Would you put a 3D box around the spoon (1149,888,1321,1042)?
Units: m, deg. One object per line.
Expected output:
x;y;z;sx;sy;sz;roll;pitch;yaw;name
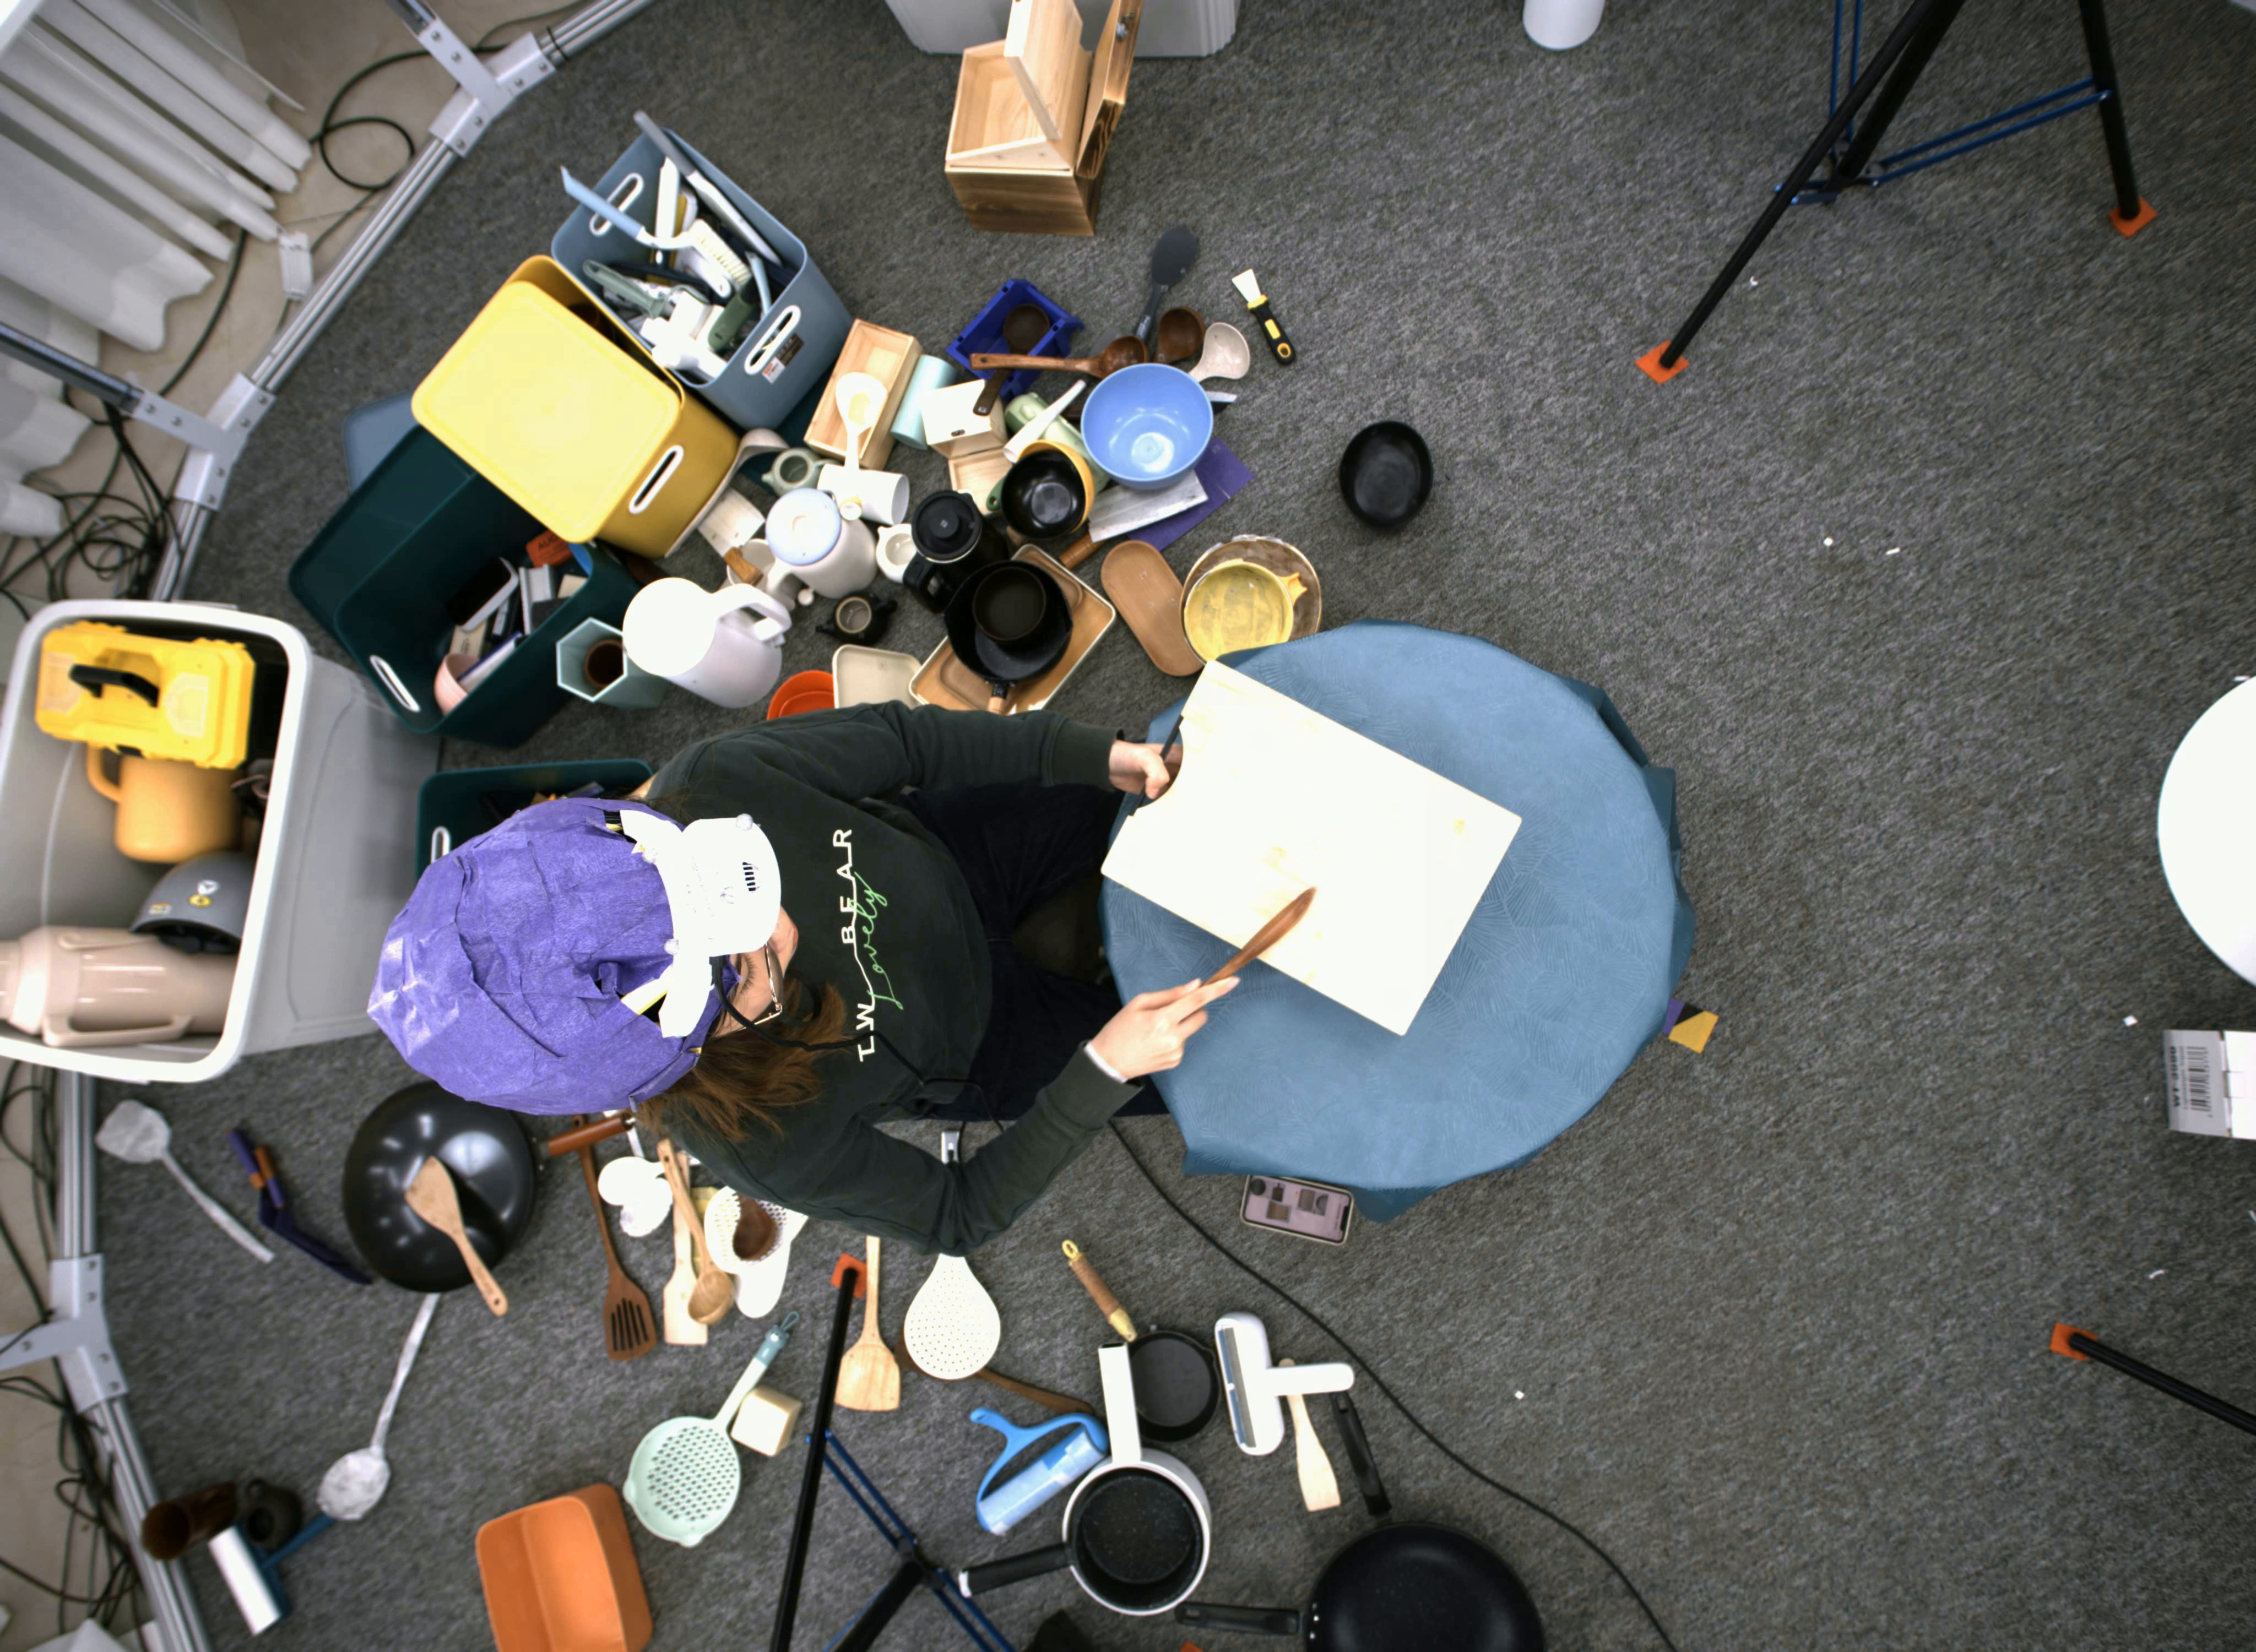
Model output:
0.105;0.134;1.331;0.217;0.075;0.017;-41;91;7;spoon

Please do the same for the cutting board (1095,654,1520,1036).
0.172;0.018;1.360;0.348;0.023;0.252;27;97;7;cutting board
